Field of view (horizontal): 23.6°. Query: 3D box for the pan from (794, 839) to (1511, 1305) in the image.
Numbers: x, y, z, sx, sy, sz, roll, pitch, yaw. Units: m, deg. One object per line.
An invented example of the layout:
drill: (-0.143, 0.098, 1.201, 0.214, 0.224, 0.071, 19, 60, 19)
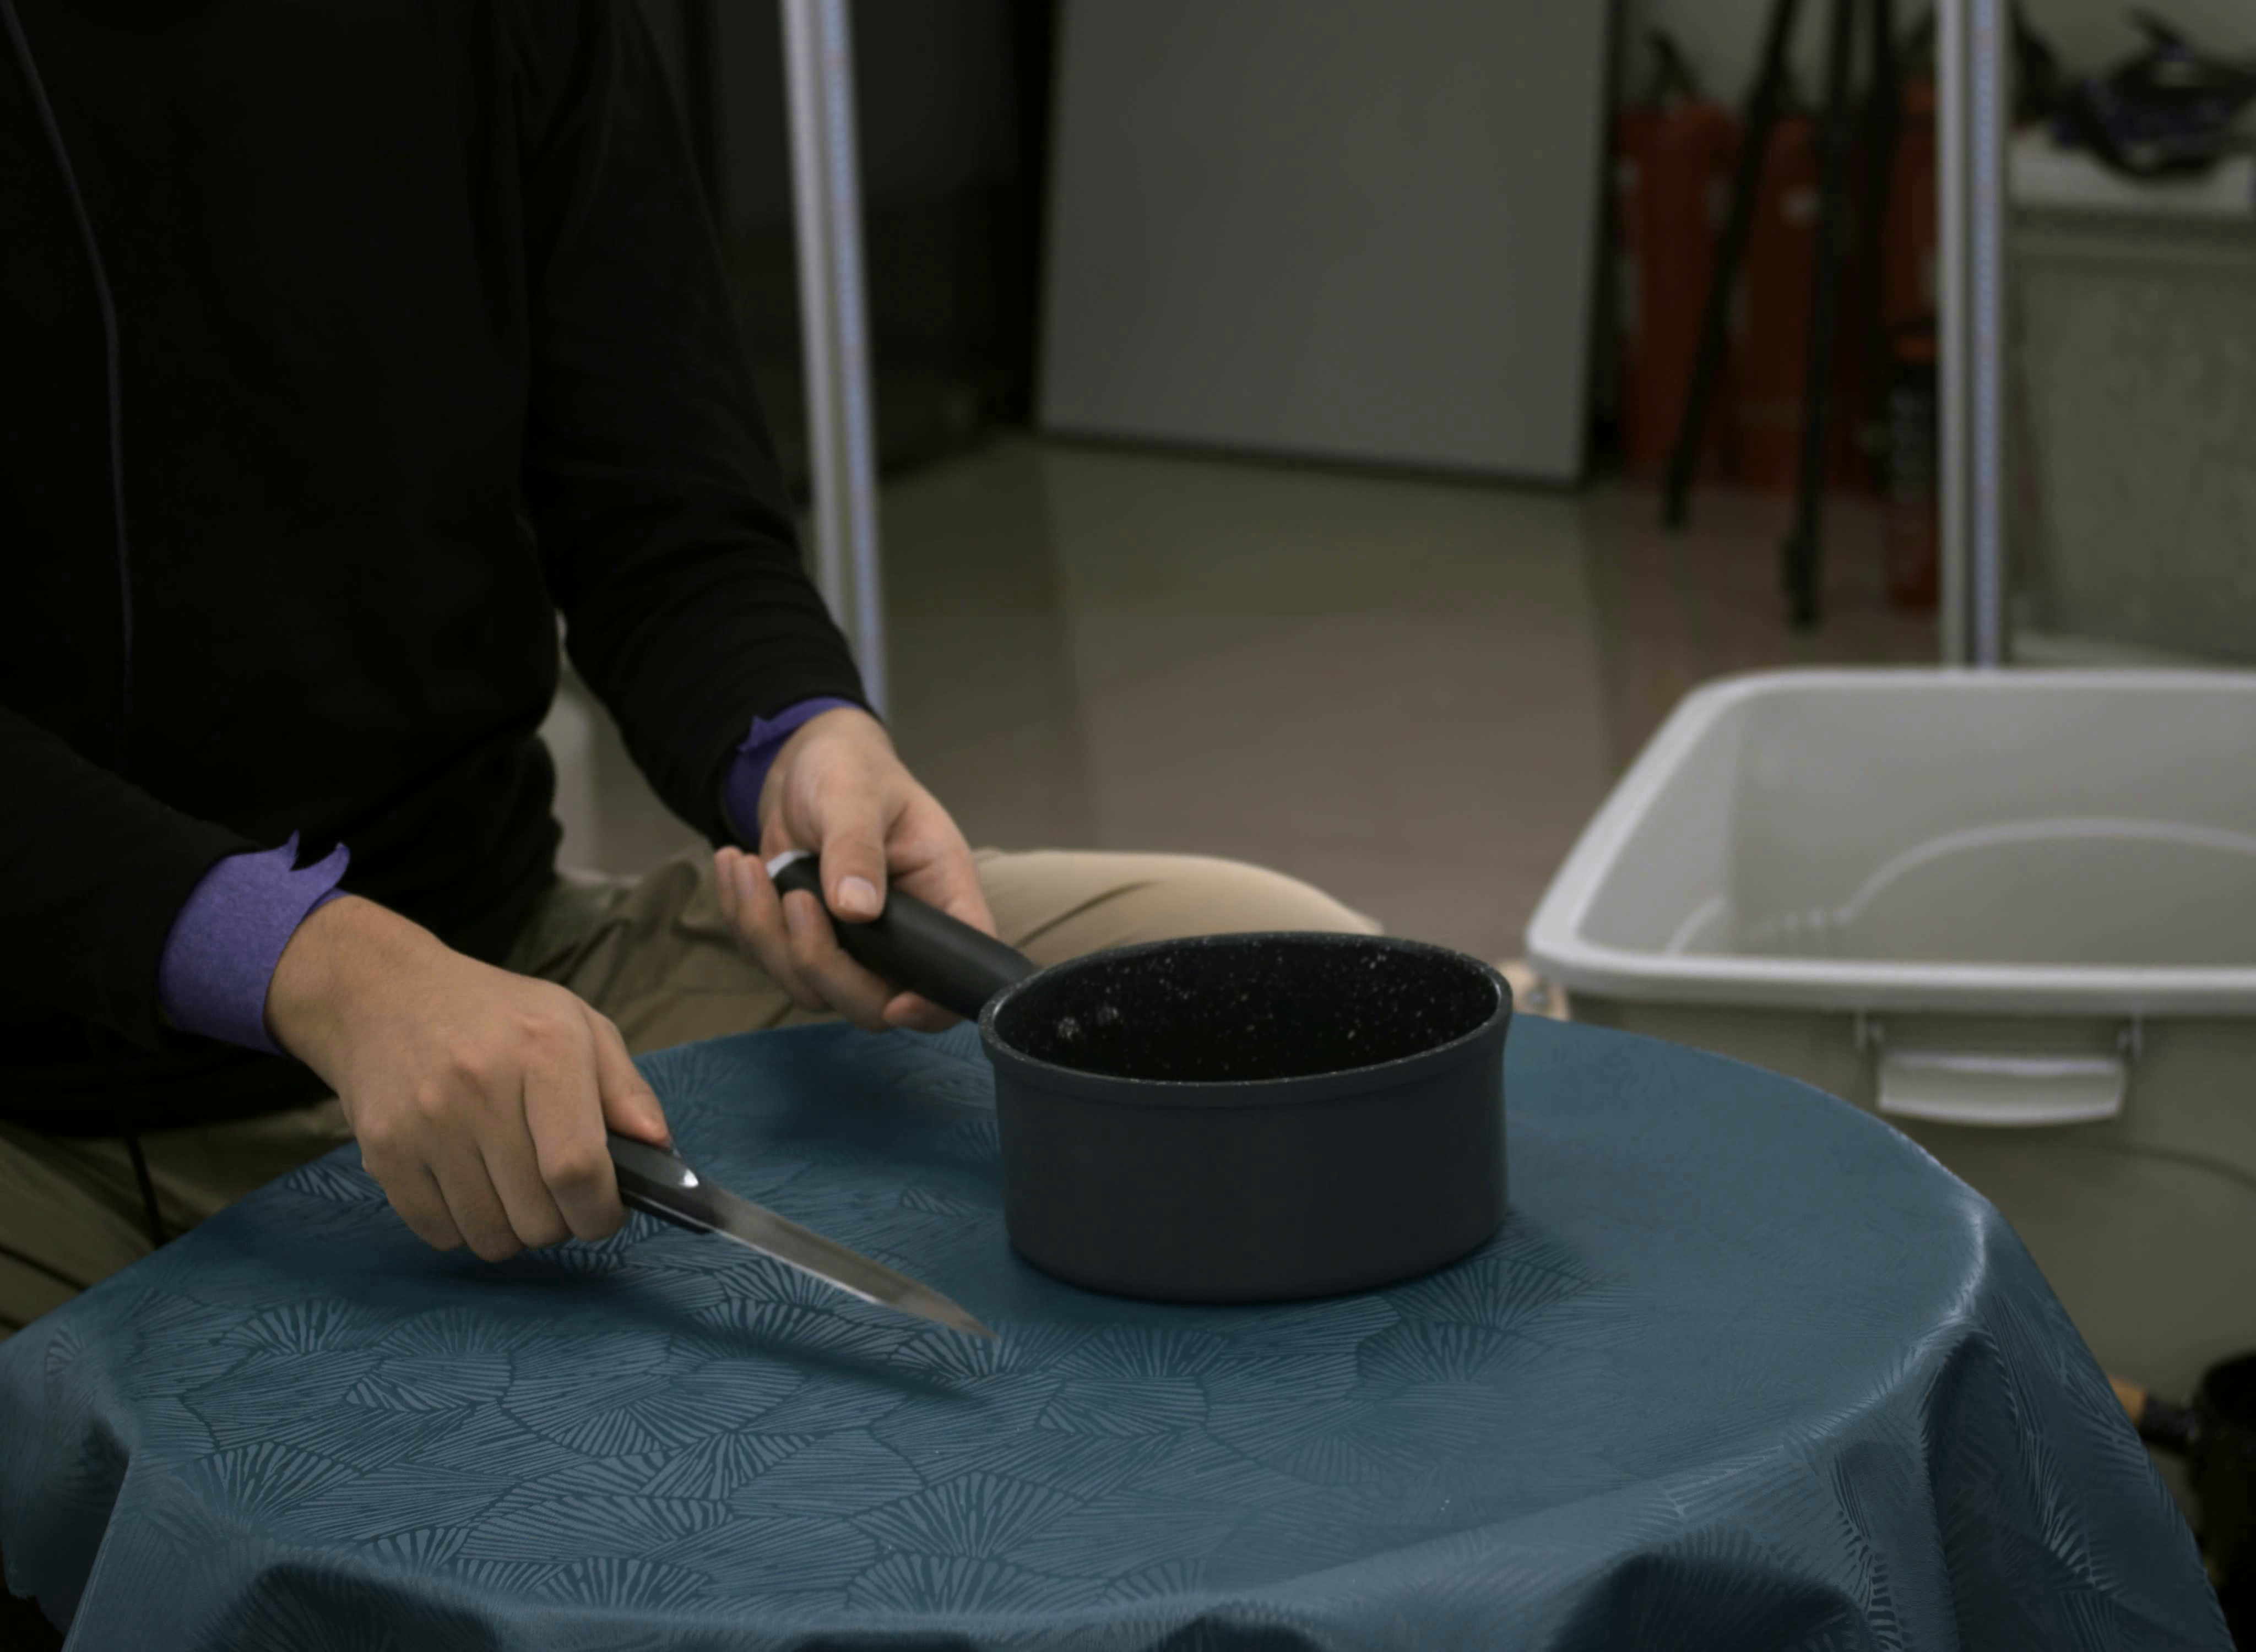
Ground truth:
pan: (-0.008, 0.076, 1.782, 0.168, 0.087, 0.332, -14, 18, -34)

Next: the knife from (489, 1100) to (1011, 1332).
knife: (-0.121, 0.122, 1.667, 0.024, 0.016, 0.240, -12, 21, -44)
